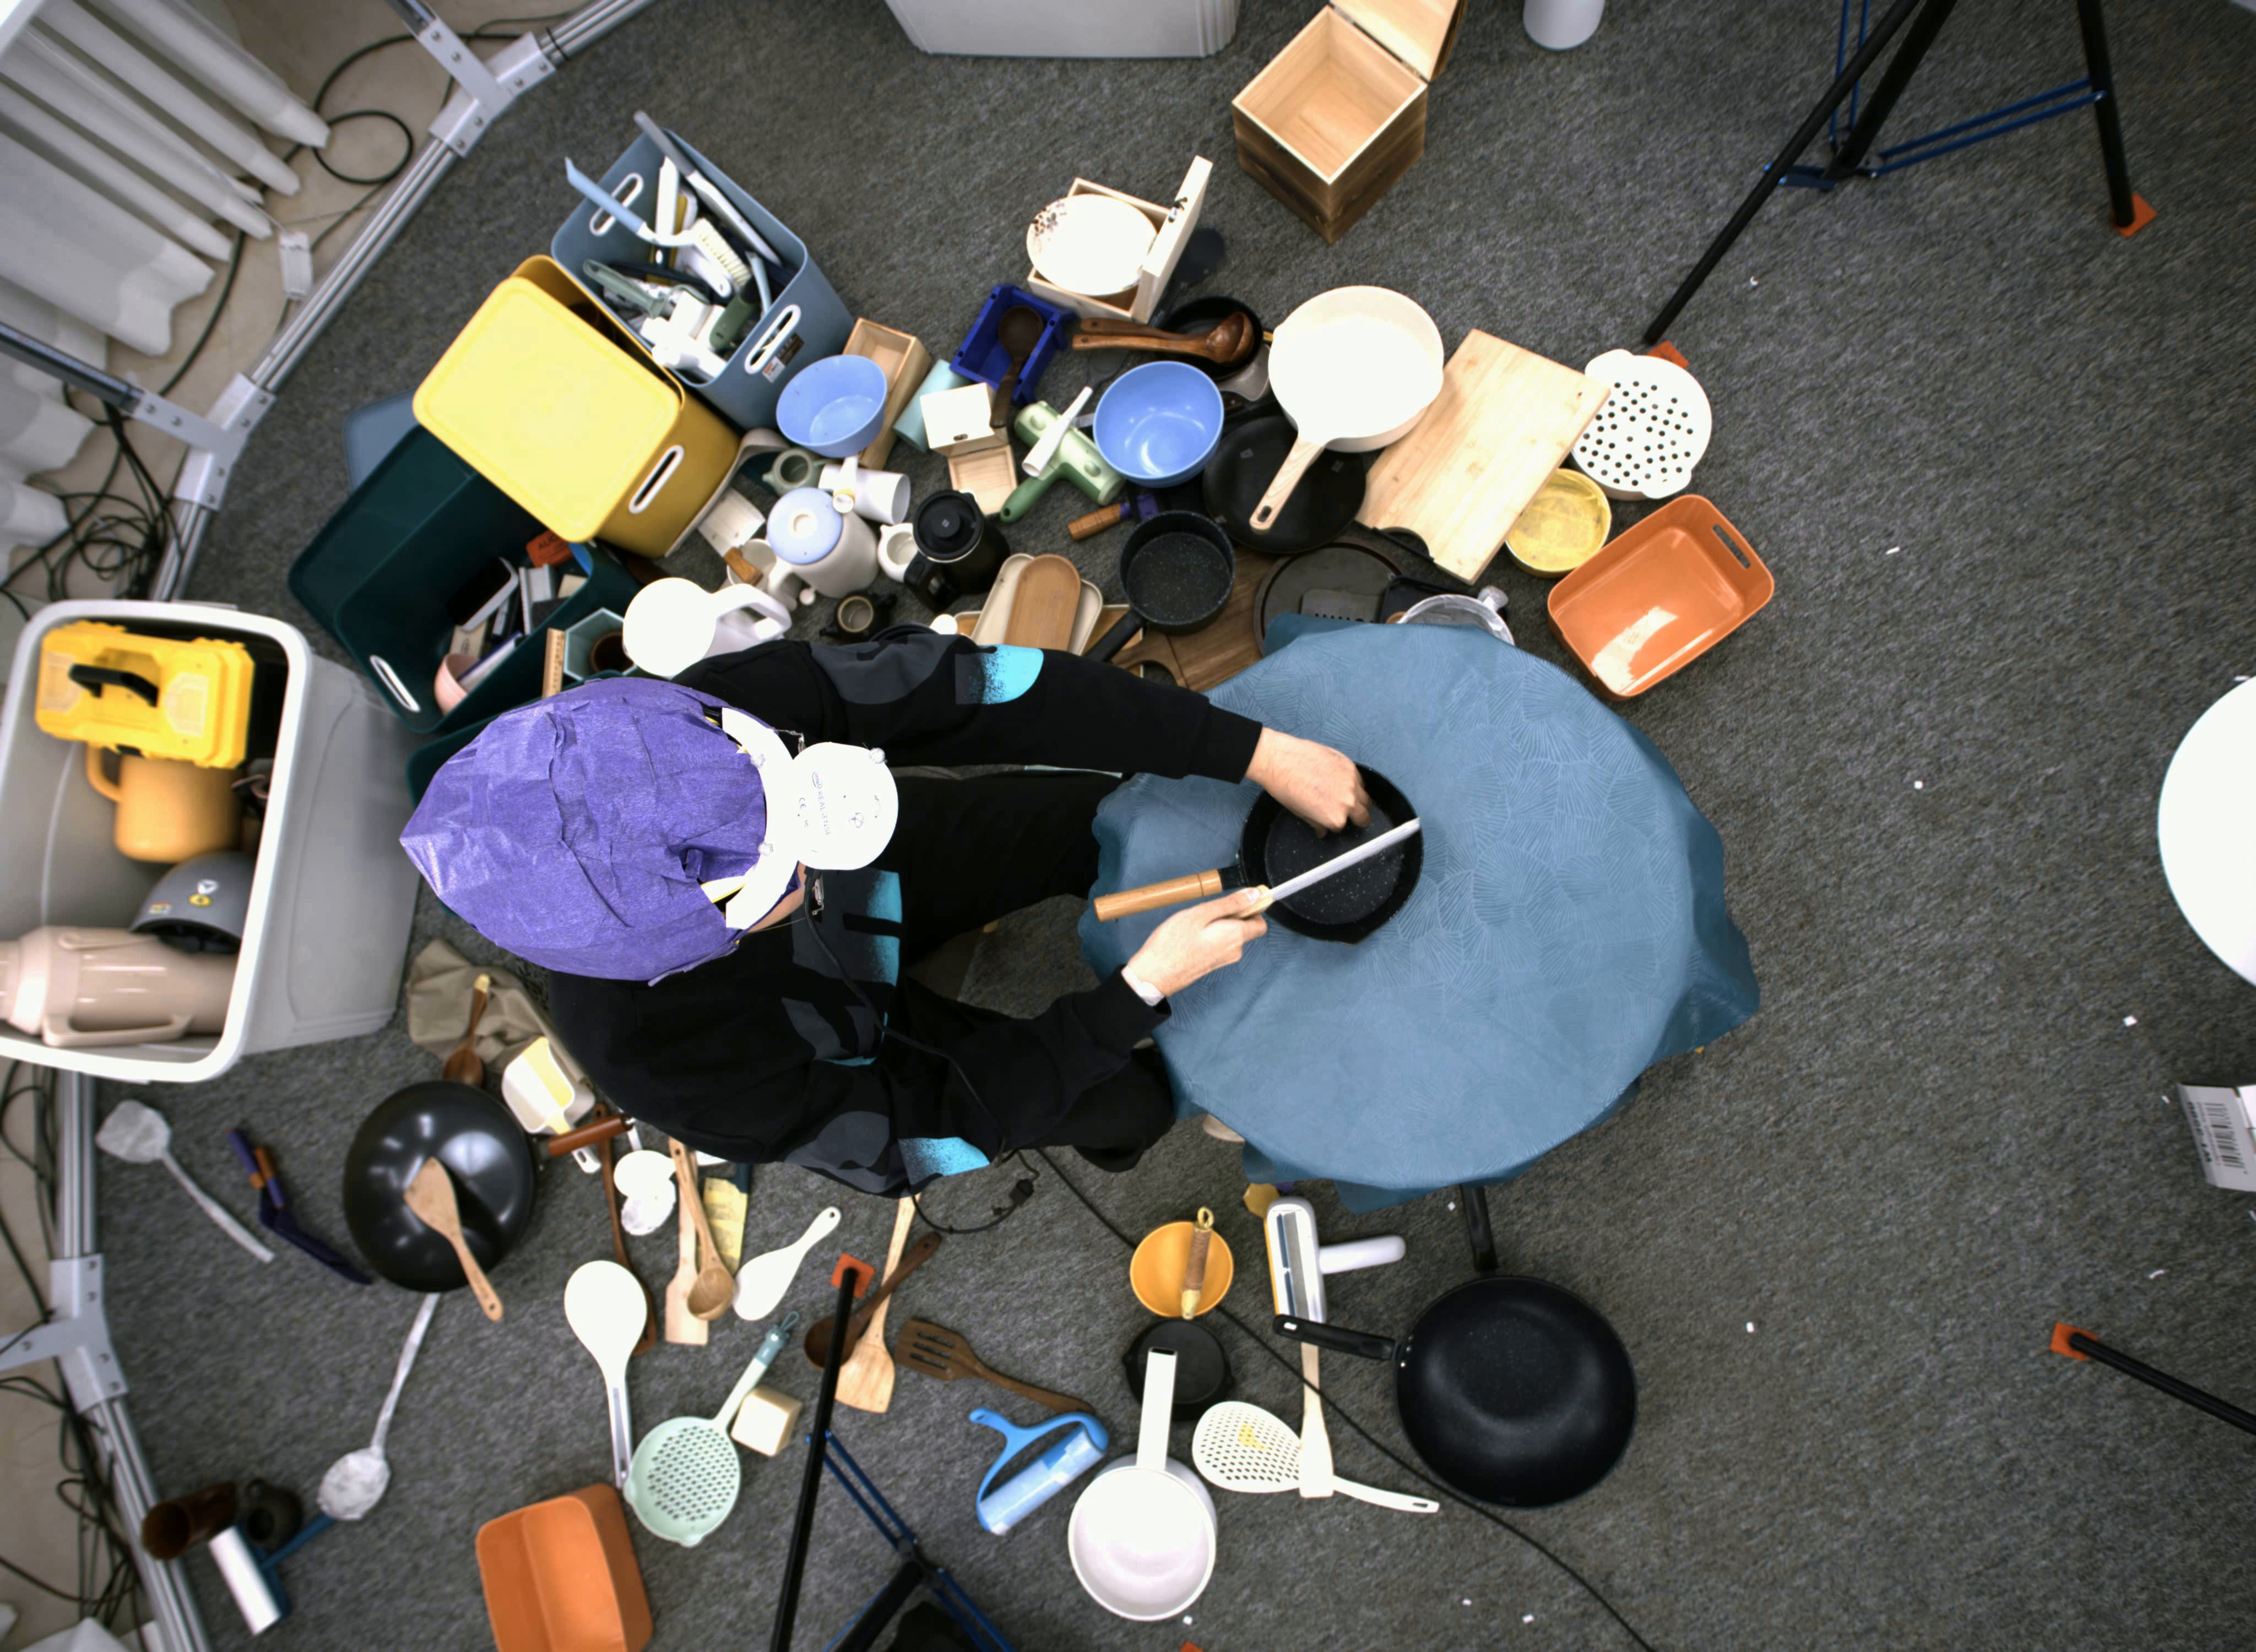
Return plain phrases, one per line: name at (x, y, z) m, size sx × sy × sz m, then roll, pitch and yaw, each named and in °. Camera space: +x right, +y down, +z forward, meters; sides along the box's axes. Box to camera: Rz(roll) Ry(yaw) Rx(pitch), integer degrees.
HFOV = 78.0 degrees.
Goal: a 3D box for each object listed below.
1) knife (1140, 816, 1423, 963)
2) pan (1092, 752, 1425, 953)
knife at (0.155, 0.059, 1.349) m, size 0.314 × 0.115 × 0.021 m, roll -24°, pitch 77°, yaw -10°
pan at (0.134, 0.048, 1.431) m, size 0.344 × 0.108 × 0.206 m, roll -17°, pitch 84°, yaw 8°
